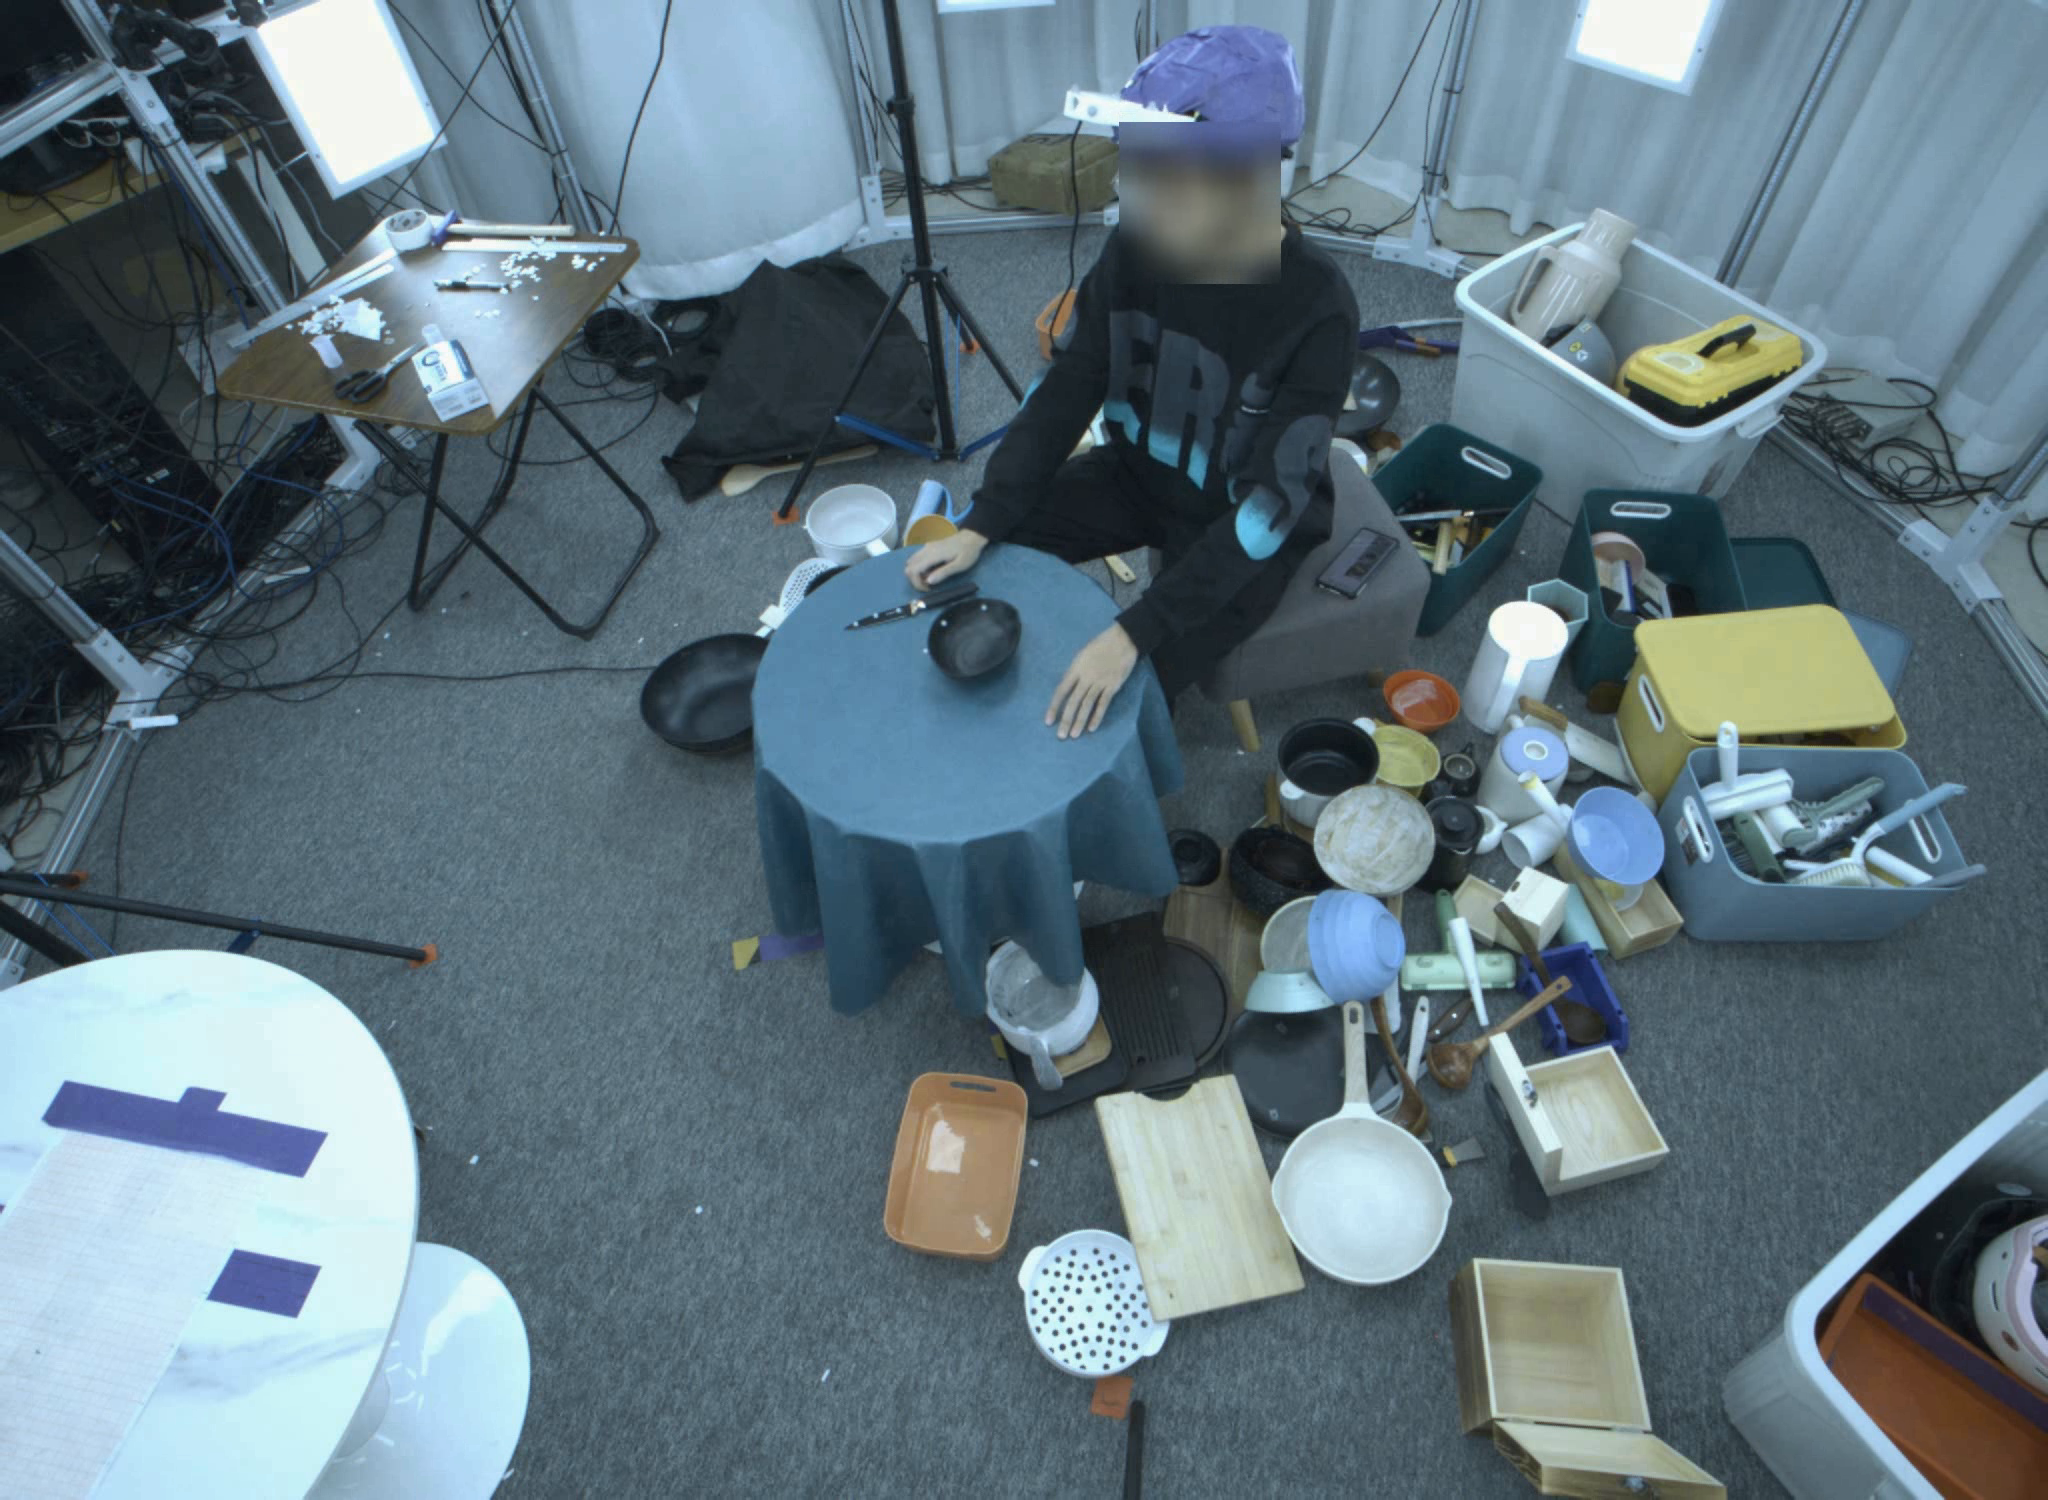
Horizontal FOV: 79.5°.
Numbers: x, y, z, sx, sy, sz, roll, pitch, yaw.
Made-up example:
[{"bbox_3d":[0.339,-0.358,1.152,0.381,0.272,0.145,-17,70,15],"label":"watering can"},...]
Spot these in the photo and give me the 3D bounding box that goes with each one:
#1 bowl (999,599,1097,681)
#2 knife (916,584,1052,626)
[{"bbox_3d":[0.038,-0.158,1.858,0.135,0.067,0.171,23,57,17],"label":"bowl"},{"bbox_3d":[-0.064,-0.229,1.944,0.226,0.017,0.026,-15,50,-7],"label":"knife"}]
